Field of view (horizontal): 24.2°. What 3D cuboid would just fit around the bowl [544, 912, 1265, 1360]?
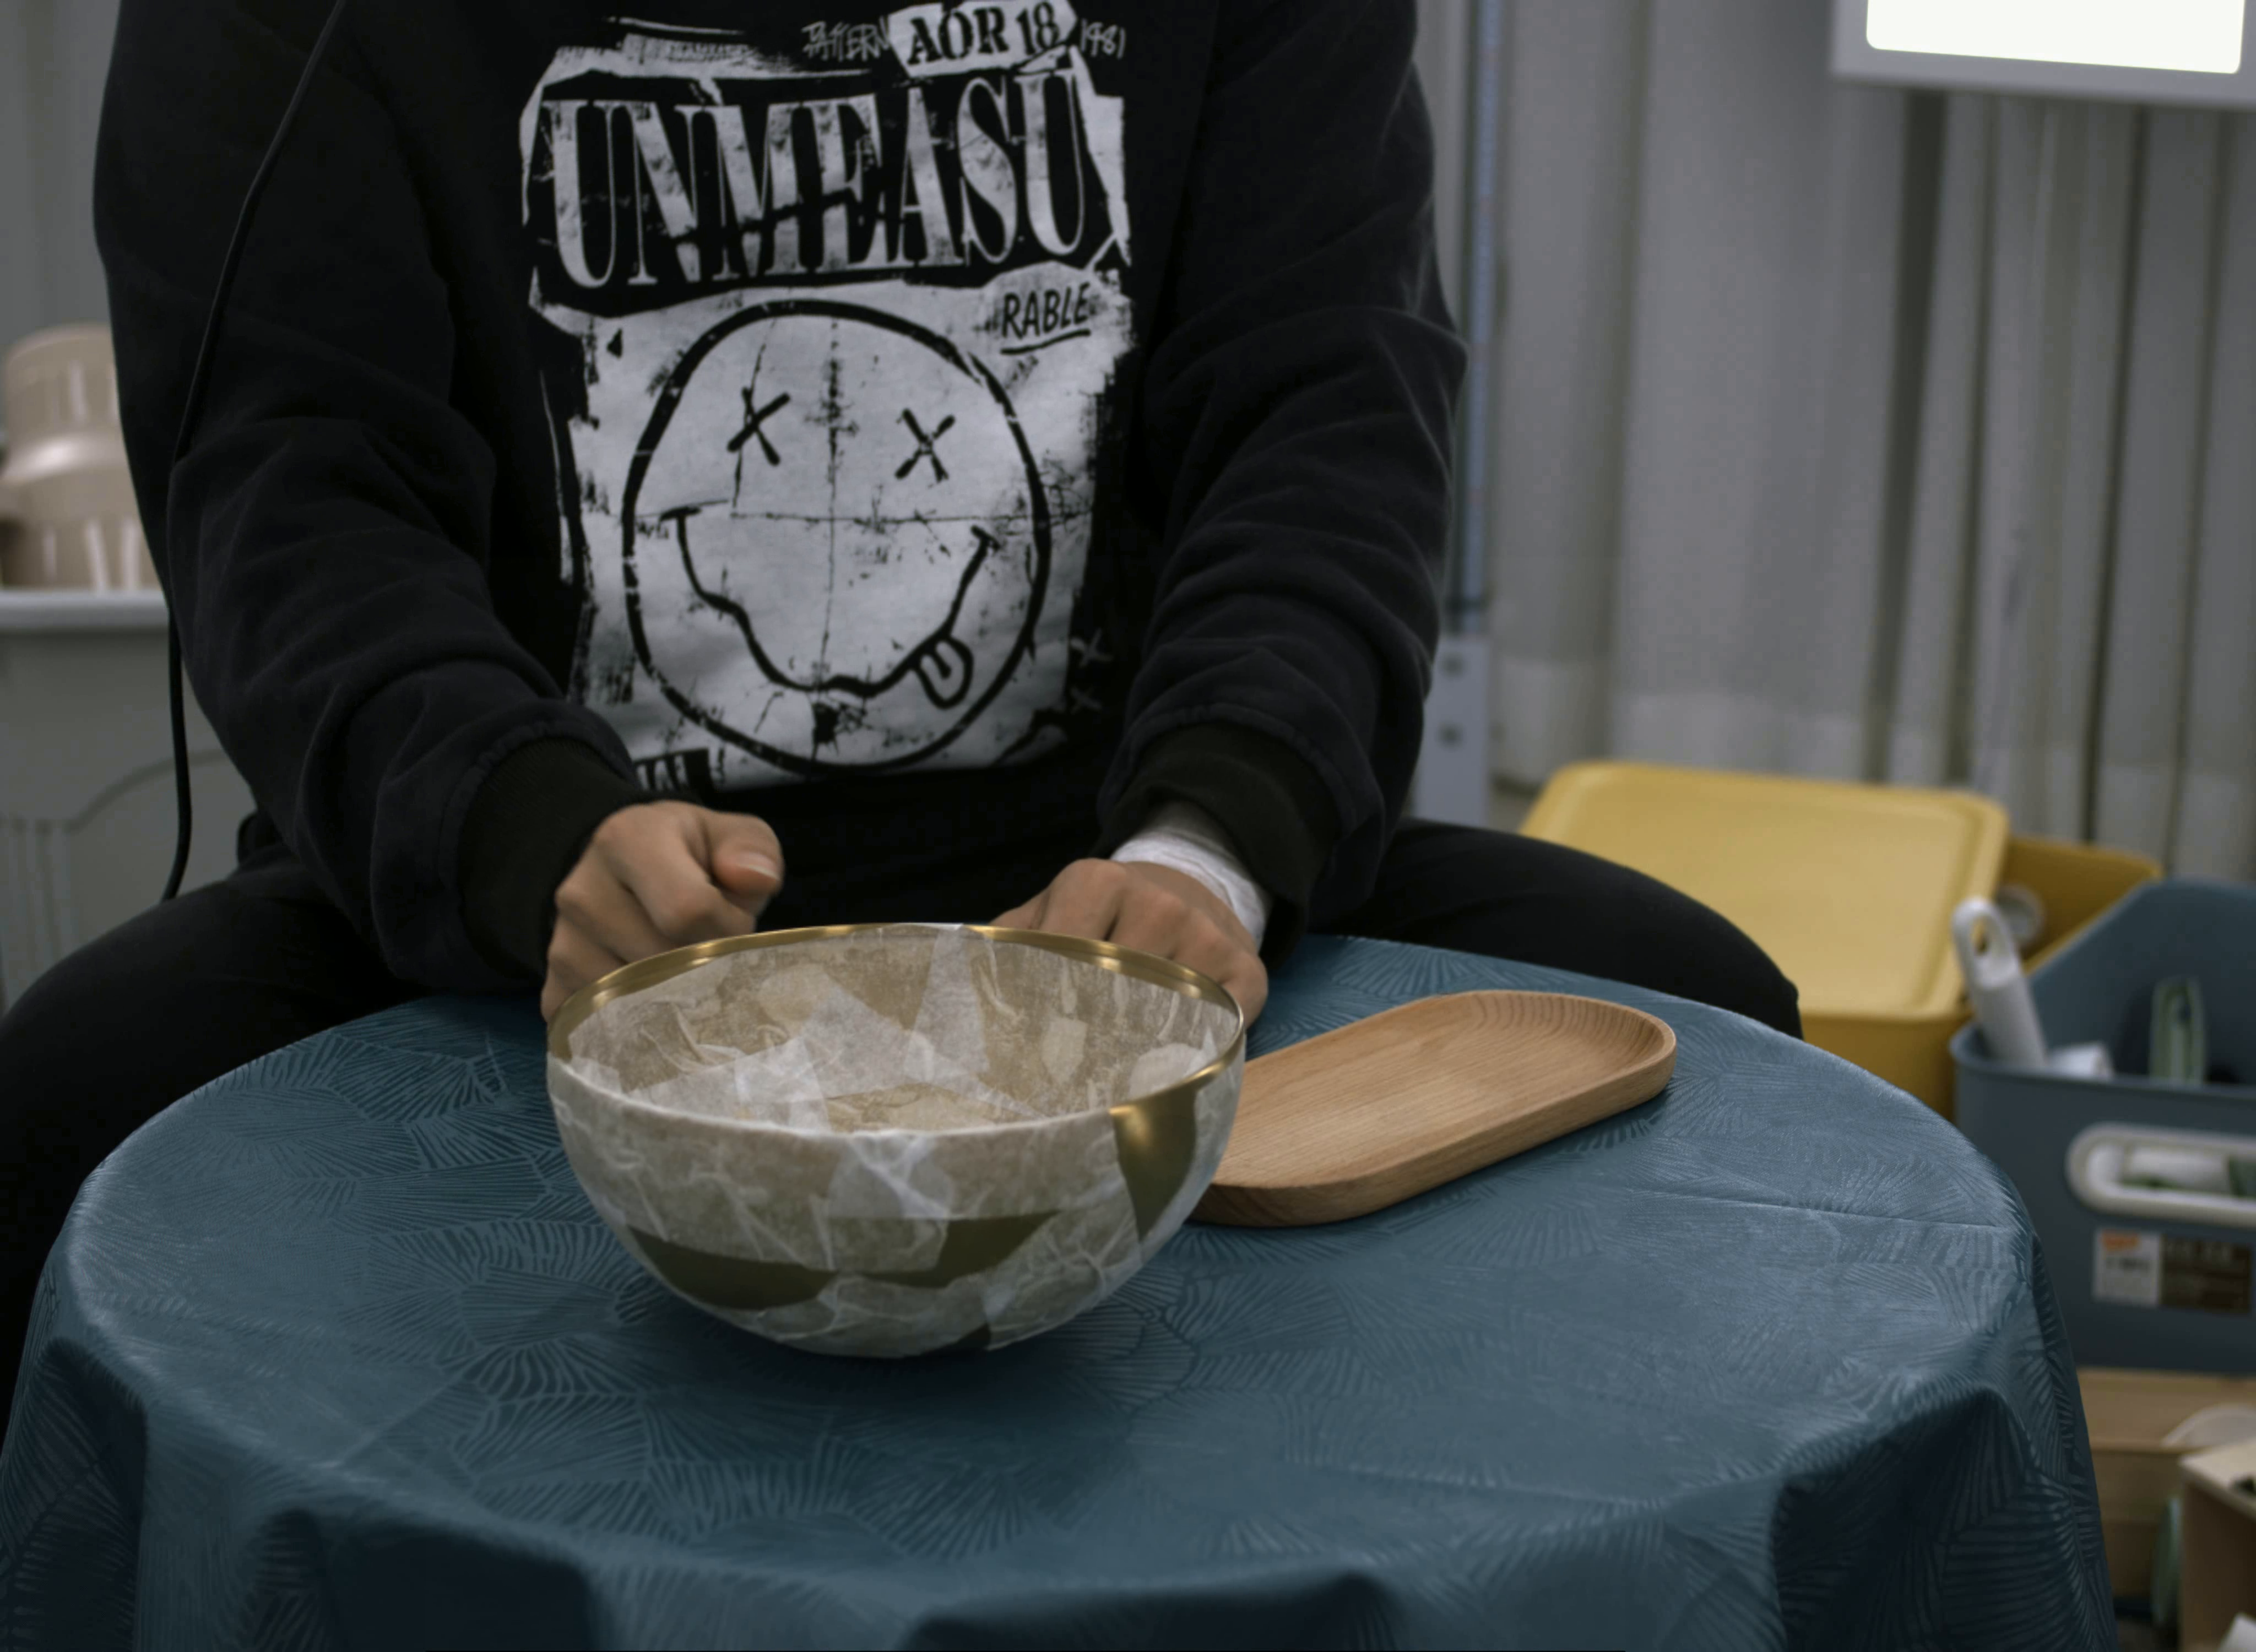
[{"bbox_3d":[-0.062,0.097,1.508,0.214,0.095,0.213,0,16,1],"label":"bowl"}]

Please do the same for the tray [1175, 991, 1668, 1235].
[{"bbox_3d":[0.085,0.090,1.682,0.100,0.020,0.232,11,21,38],"label":"tray"}]
